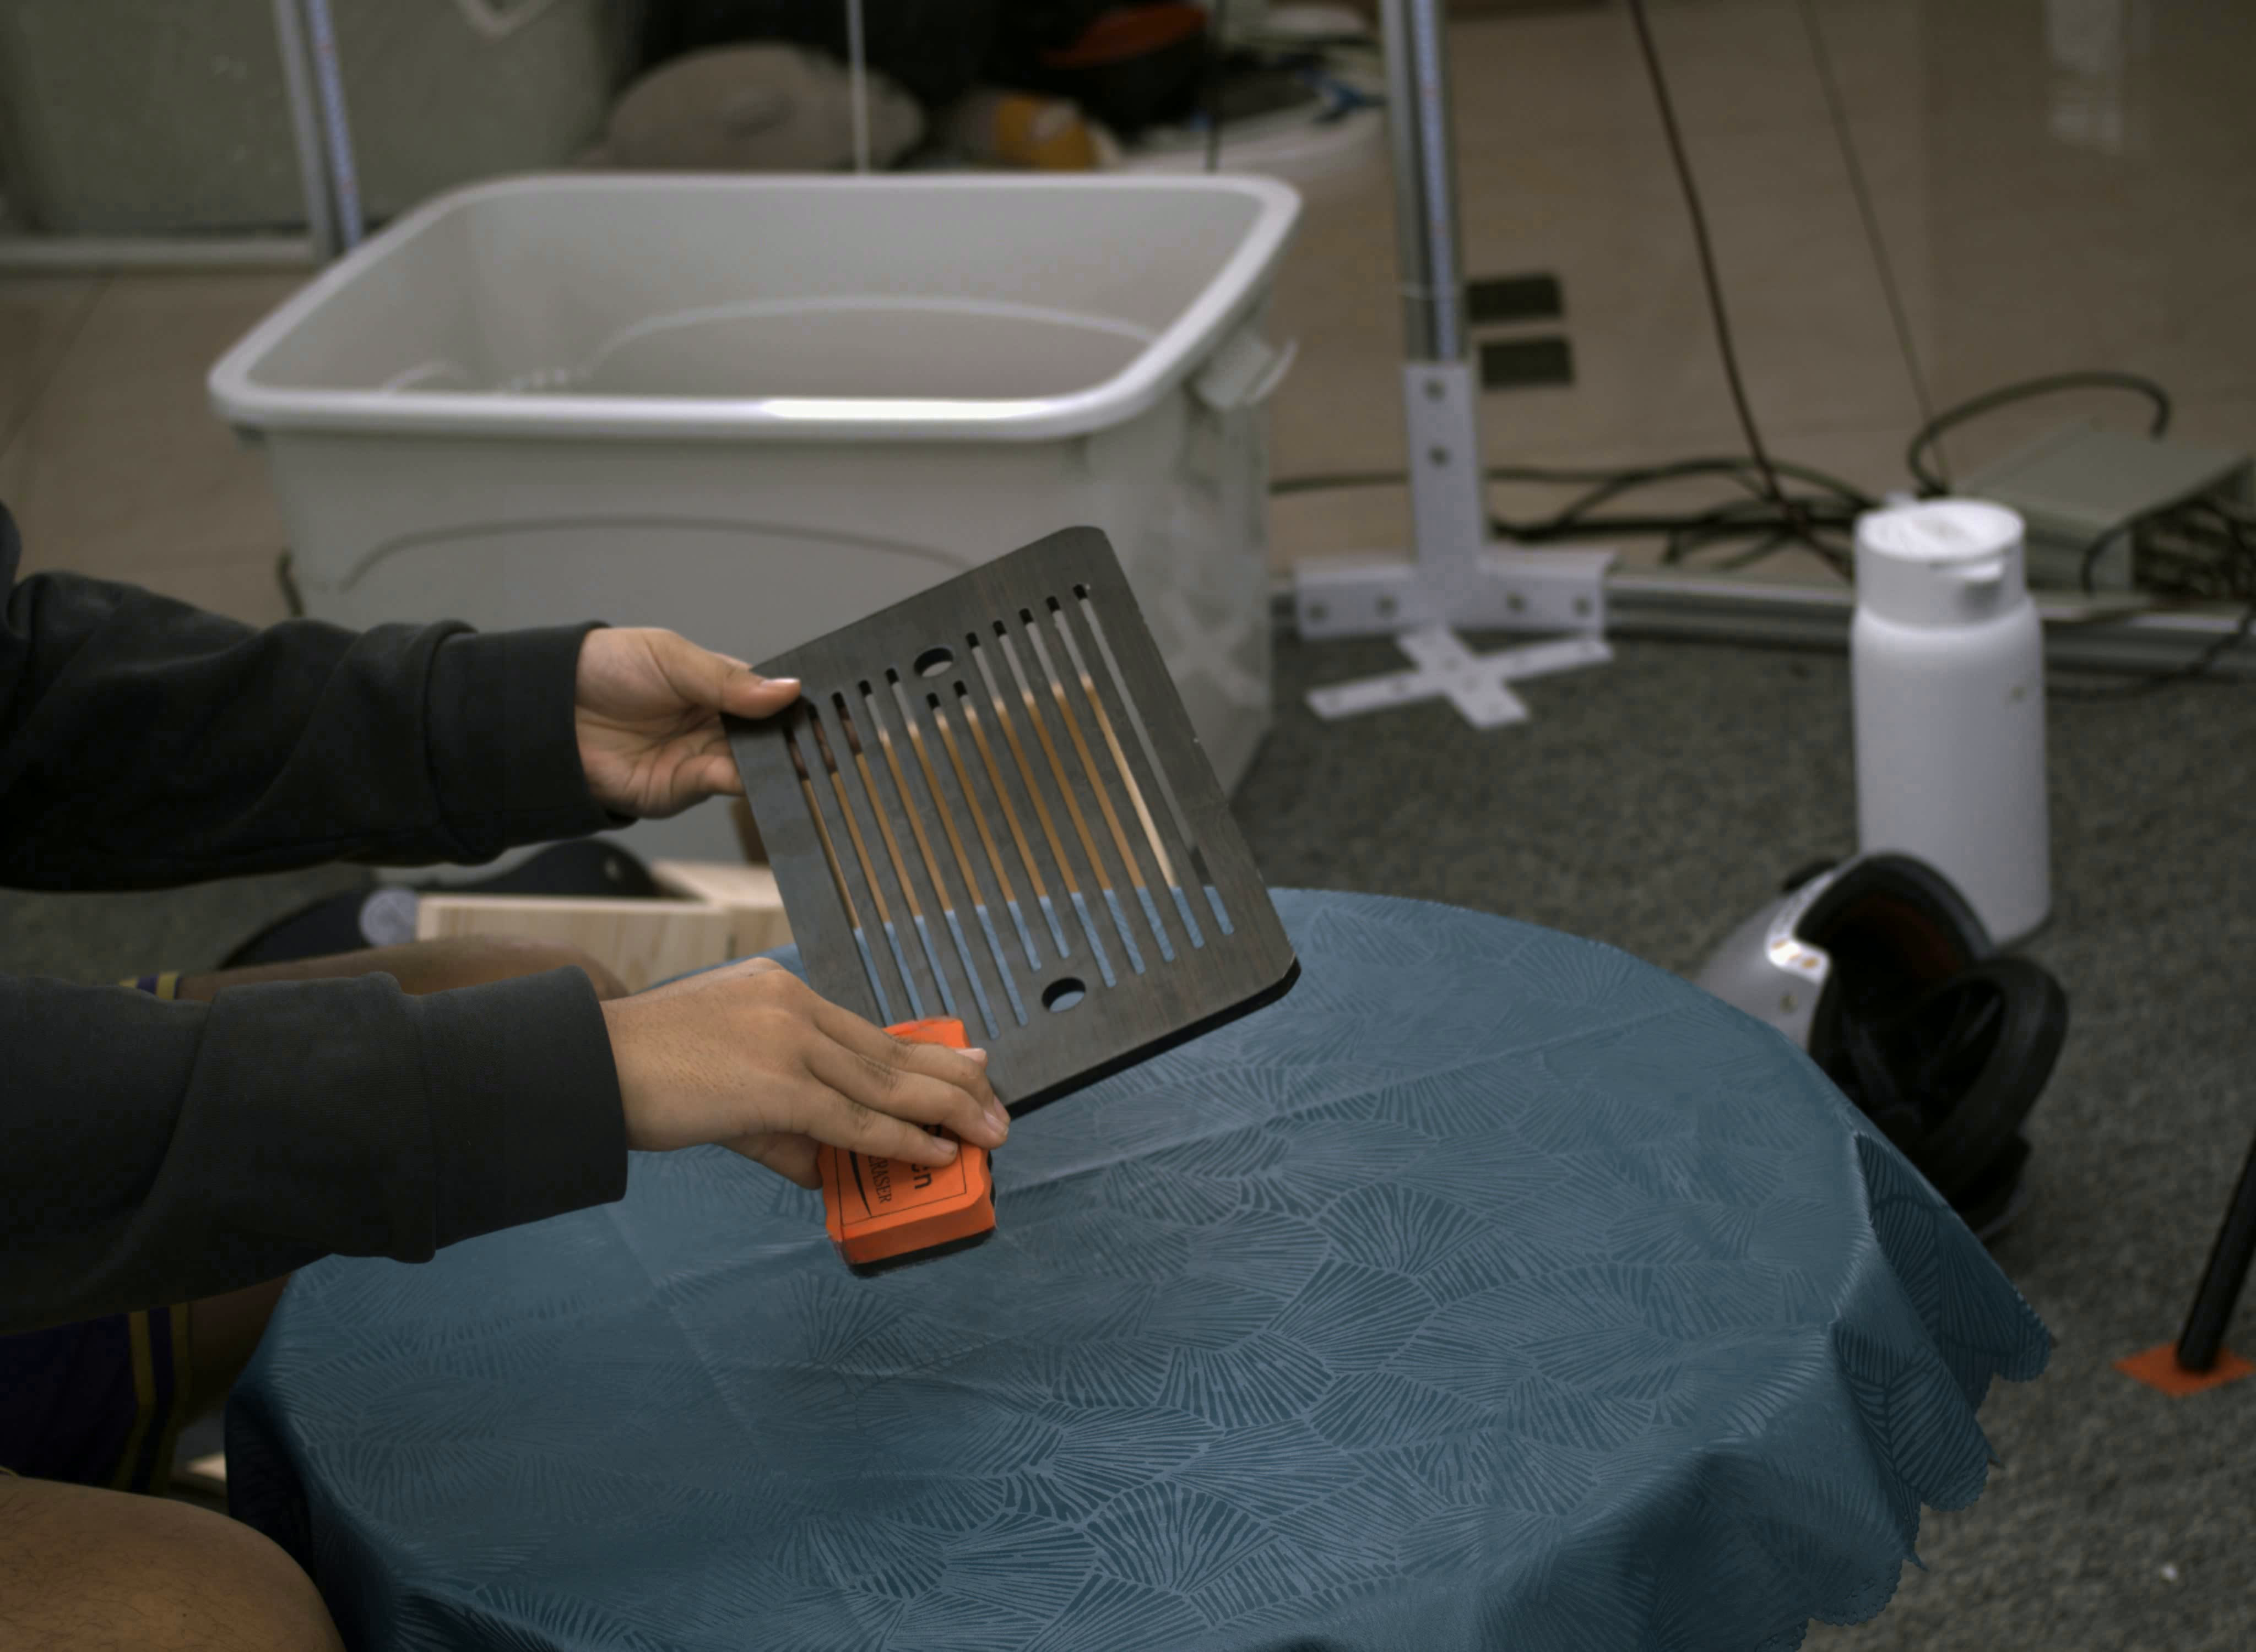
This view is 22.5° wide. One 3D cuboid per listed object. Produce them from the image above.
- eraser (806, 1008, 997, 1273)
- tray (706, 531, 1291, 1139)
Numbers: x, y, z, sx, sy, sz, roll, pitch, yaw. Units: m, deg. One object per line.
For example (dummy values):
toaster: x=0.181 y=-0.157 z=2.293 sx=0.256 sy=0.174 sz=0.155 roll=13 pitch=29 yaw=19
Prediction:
eraser: x=-0.080 y=0.110 z=1.991 sx=0.059 sy=0.023 sz=0.106 roll=-15 pitch=39 yaw=3
tray: x=-0.053 y=0.006 z=2.130 sx=0.170 sy=0.019 sz=0.300 roll=-25 pitch=40 yaw=2
